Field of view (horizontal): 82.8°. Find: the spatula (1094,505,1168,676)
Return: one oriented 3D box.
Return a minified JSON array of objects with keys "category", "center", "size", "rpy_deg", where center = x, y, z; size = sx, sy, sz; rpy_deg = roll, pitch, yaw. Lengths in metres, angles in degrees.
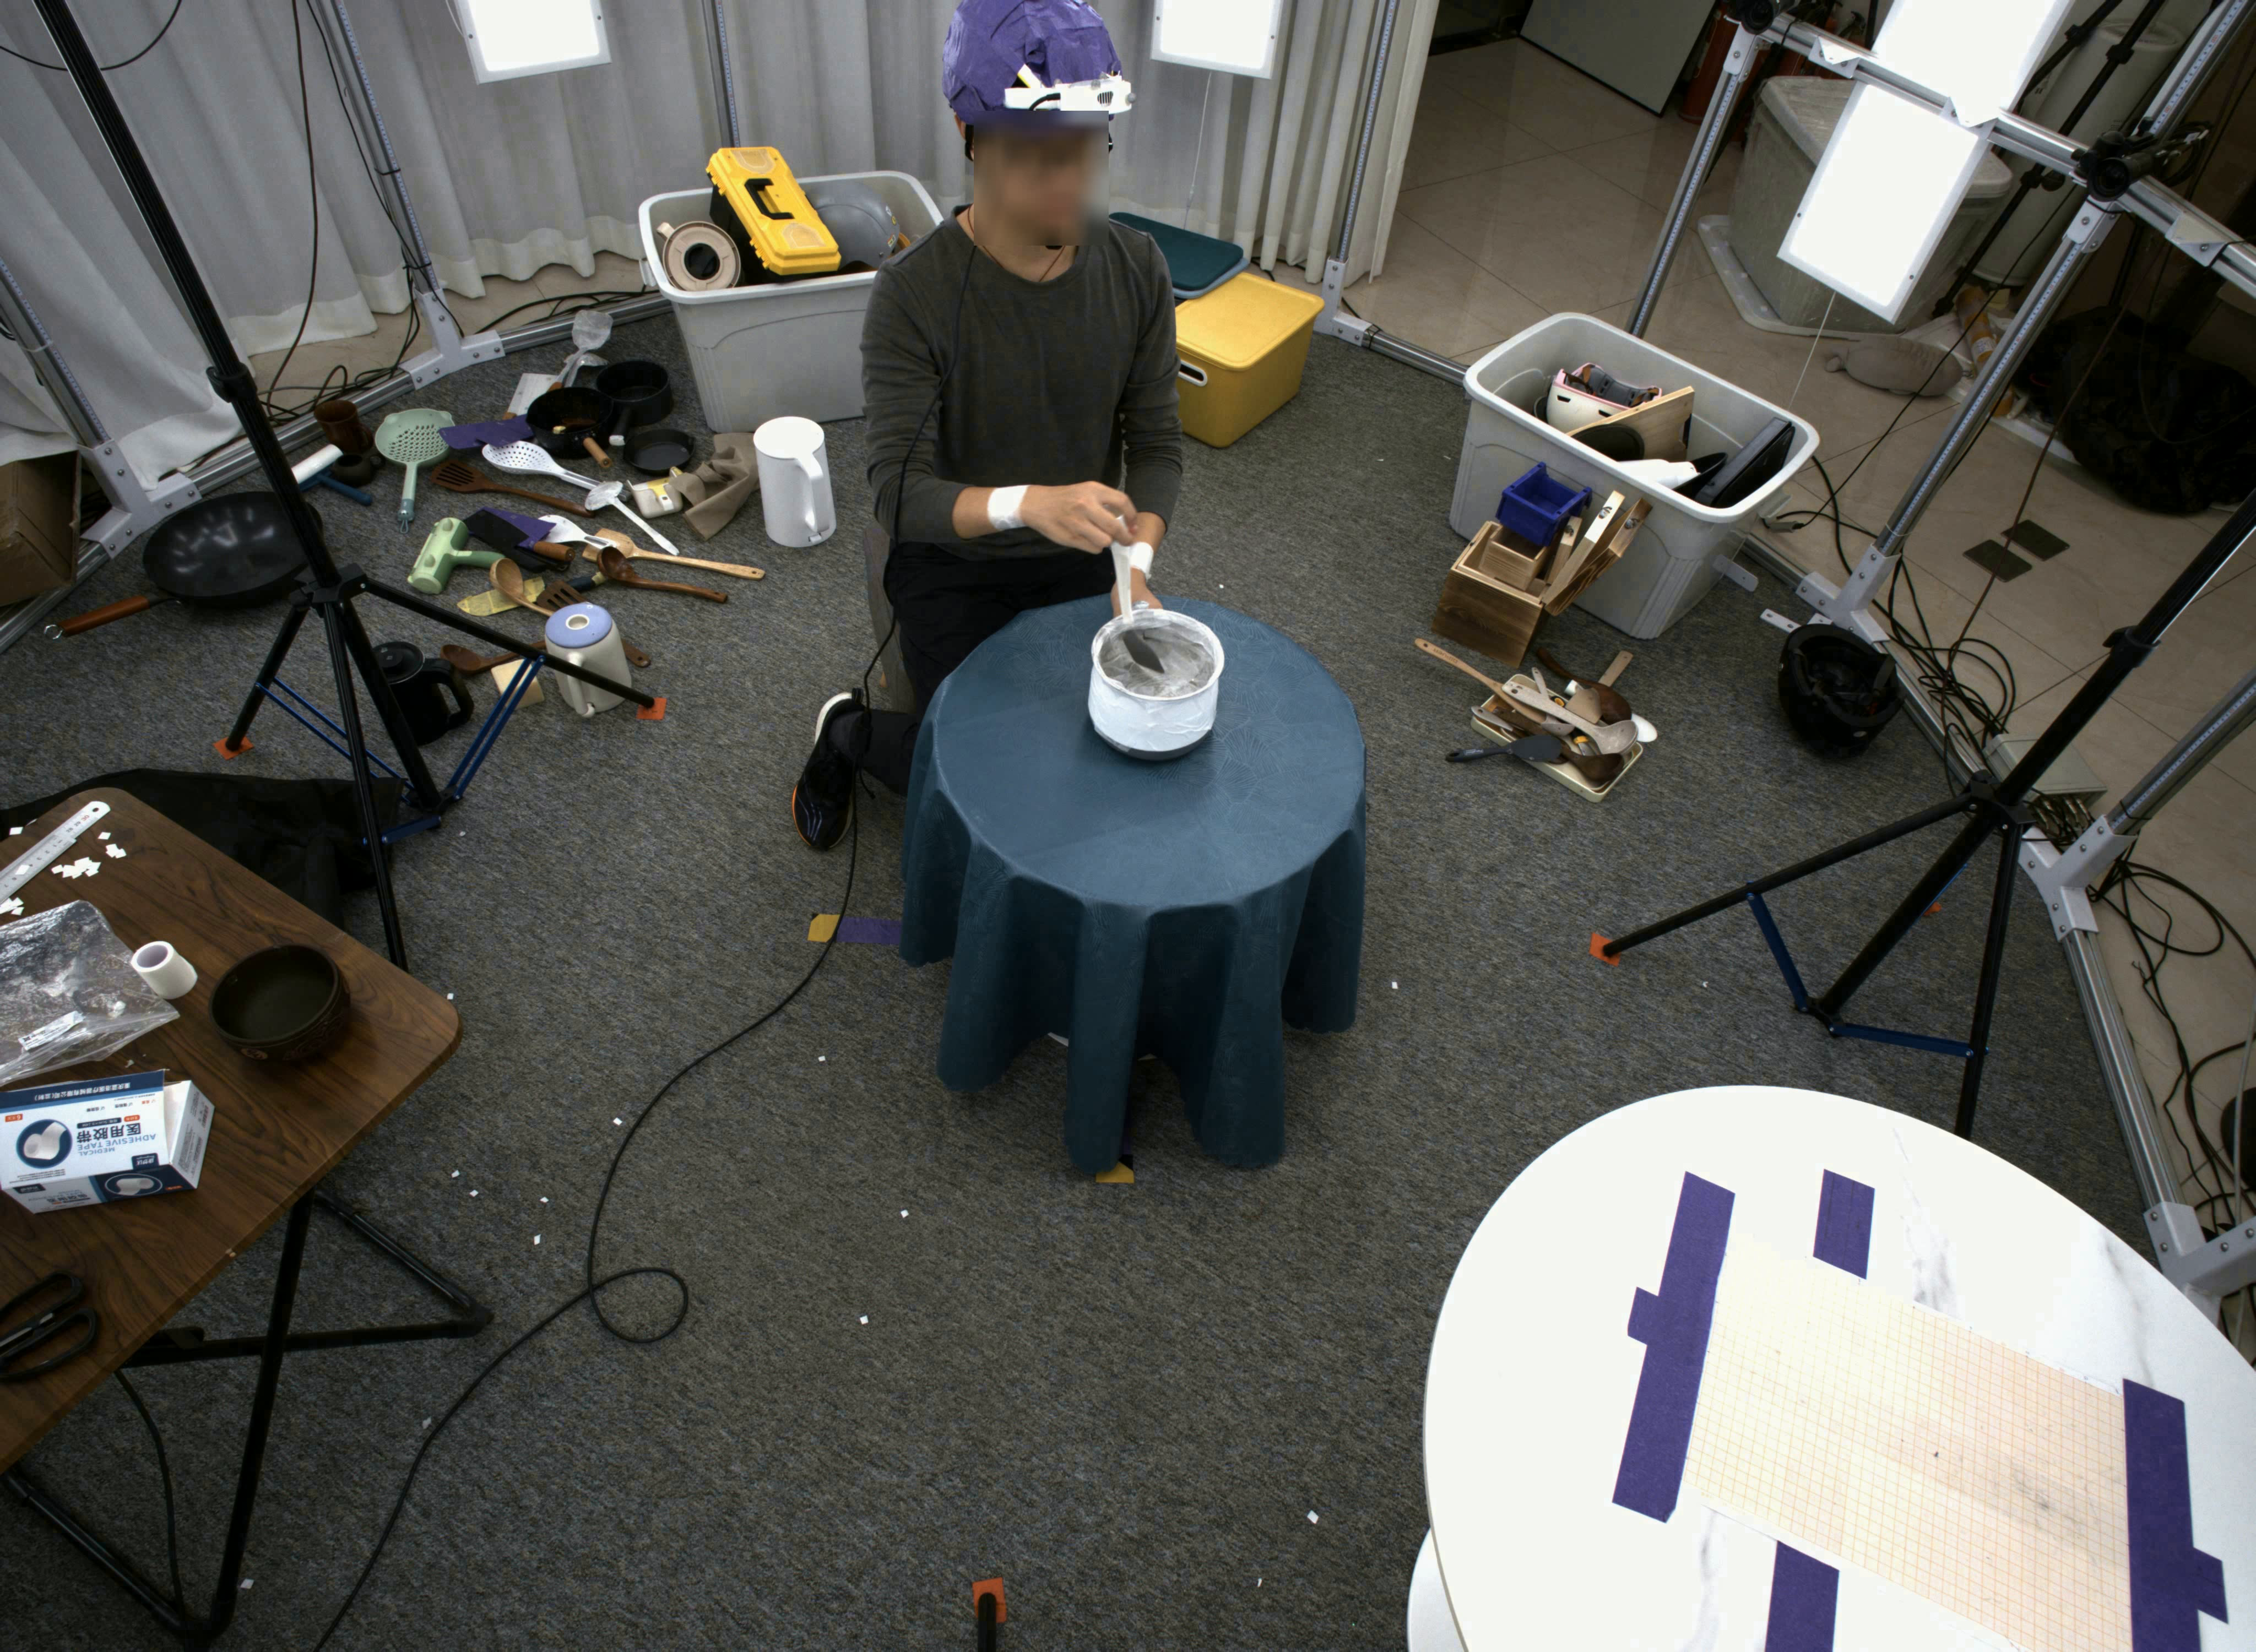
[{"category":"spatula","center":[0.002,-0.295,1.672],"size":[0.059,0.280,0.032],"rpy_deg":[23,62,29]}]

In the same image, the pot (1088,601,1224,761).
[{"category":"pot","center":[0.029,-0.209,1.763],"size":[0.178,0.133,0.239],"rpy_deg":[-7,50,-11]}]
